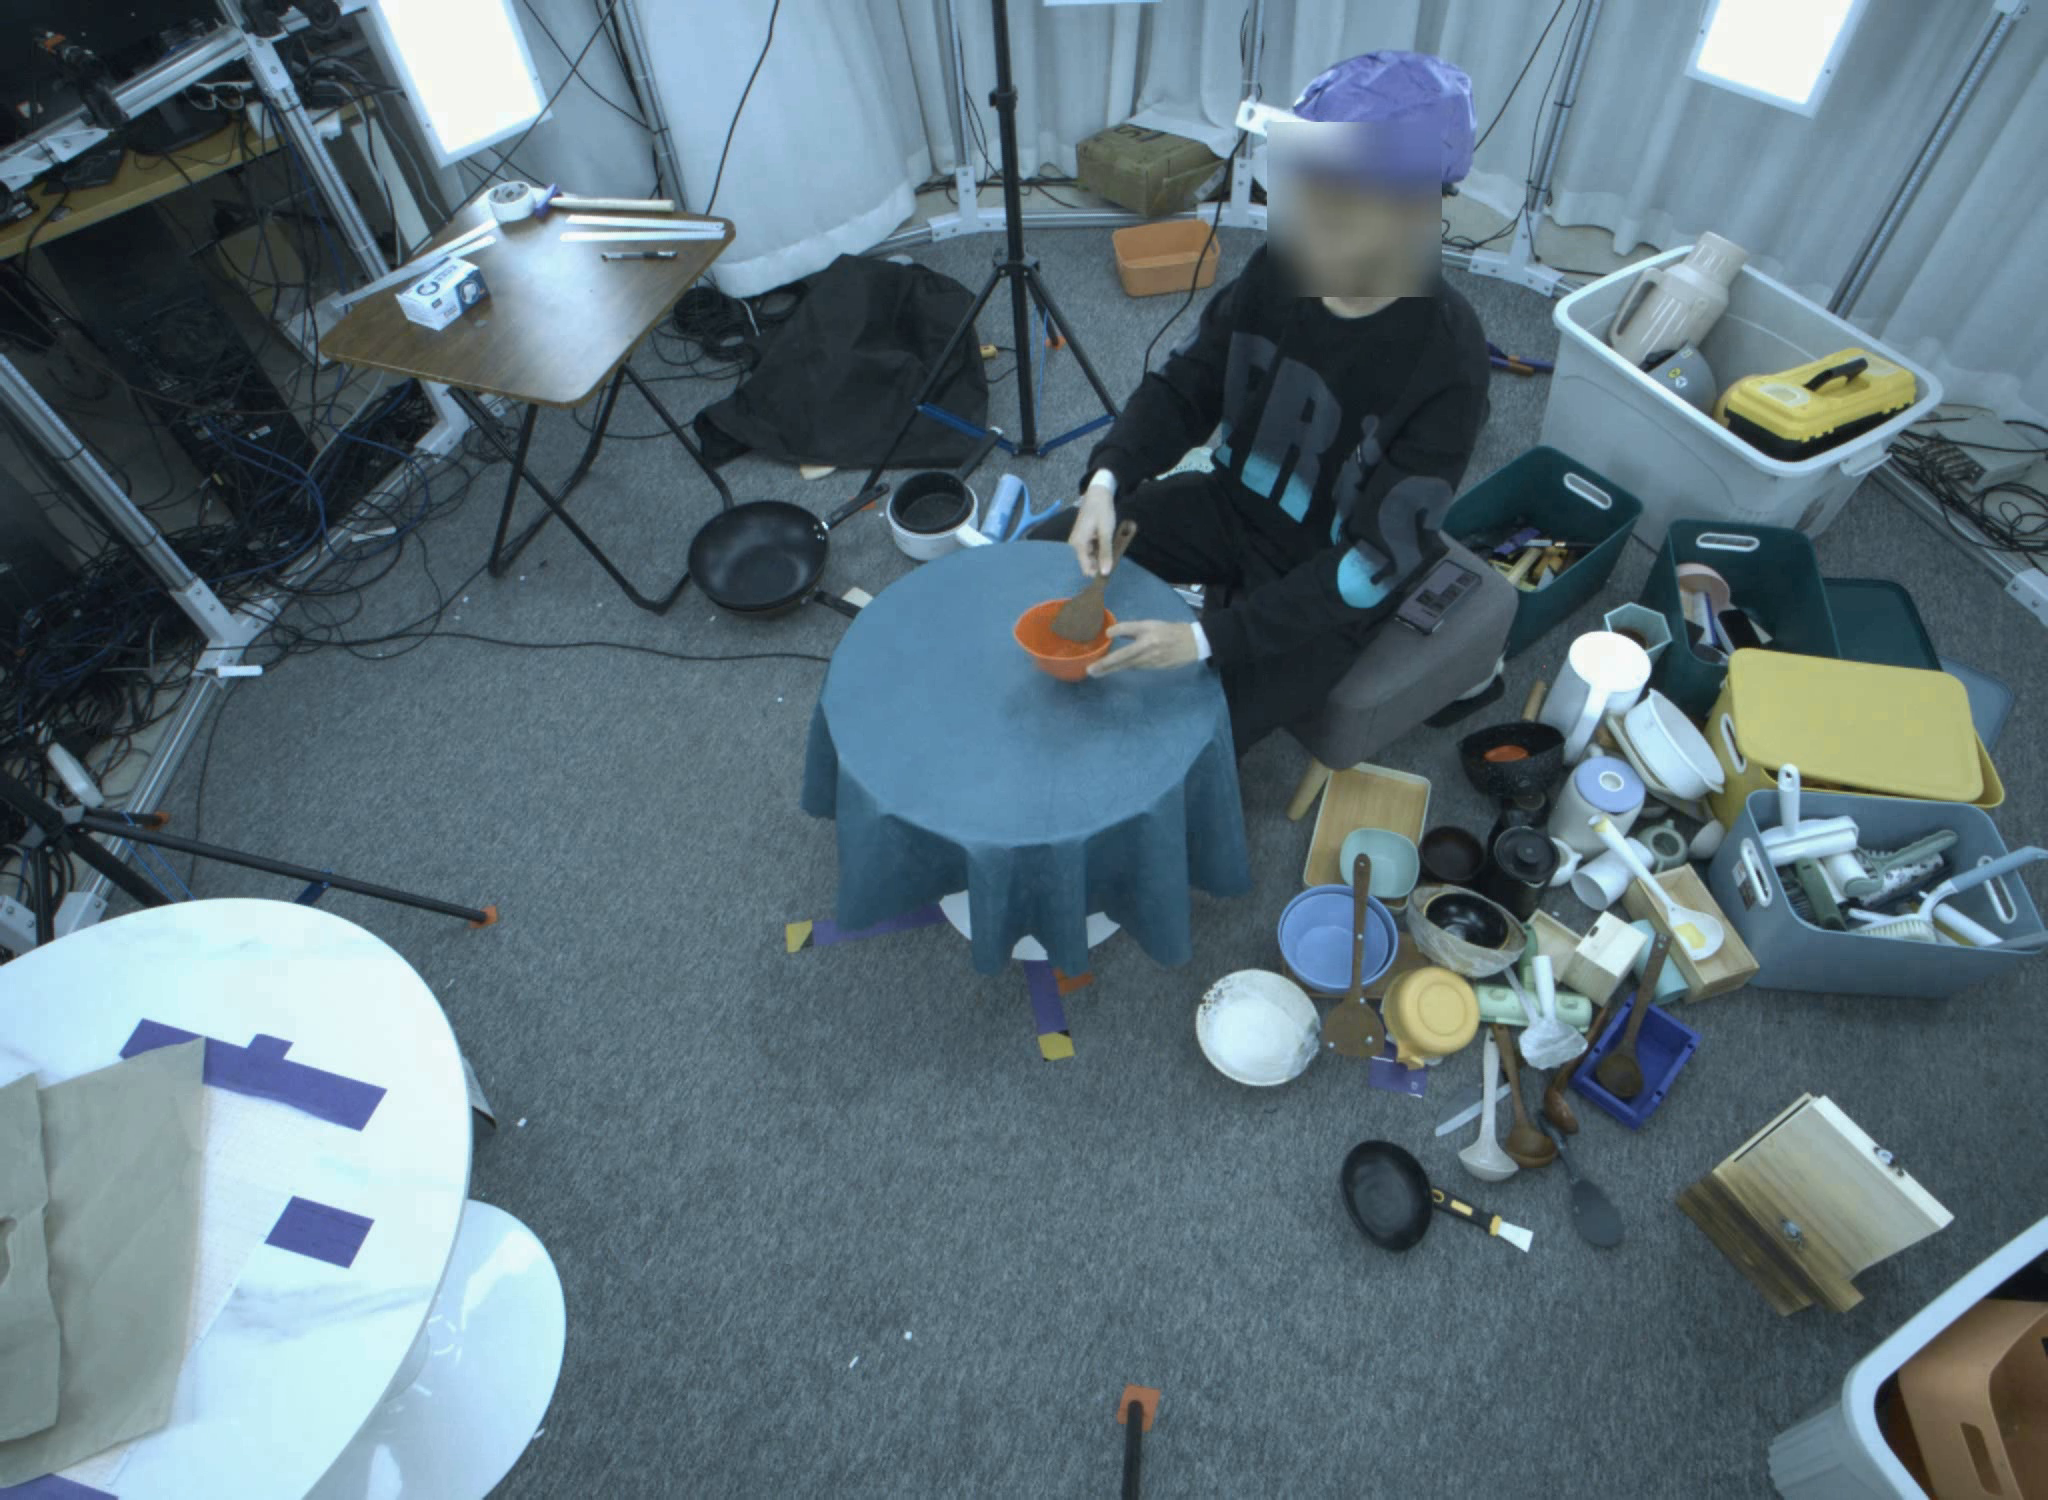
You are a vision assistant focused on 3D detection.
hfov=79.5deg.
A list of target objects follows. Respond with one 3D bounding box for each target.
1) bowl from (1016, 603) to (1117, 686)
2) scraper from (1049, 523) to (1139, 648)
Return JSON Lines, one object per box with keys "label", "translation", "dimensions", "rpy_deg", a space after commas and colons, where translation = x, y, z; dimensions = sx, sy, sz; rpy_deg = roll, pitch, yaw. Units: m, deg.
{"label": "bowl", "translation": [0.067, -0.145, 1.817], "dimensions": [0.147, 0.106, 0.146], "rpy_deg": [-3, 51, 6]}
{"label": "scraper", "translation": [0.113, -0.248, 1.827], "dimensions": [0.075, 0.011, 0.211], "rpy_deg": [25, 80, 16]}
